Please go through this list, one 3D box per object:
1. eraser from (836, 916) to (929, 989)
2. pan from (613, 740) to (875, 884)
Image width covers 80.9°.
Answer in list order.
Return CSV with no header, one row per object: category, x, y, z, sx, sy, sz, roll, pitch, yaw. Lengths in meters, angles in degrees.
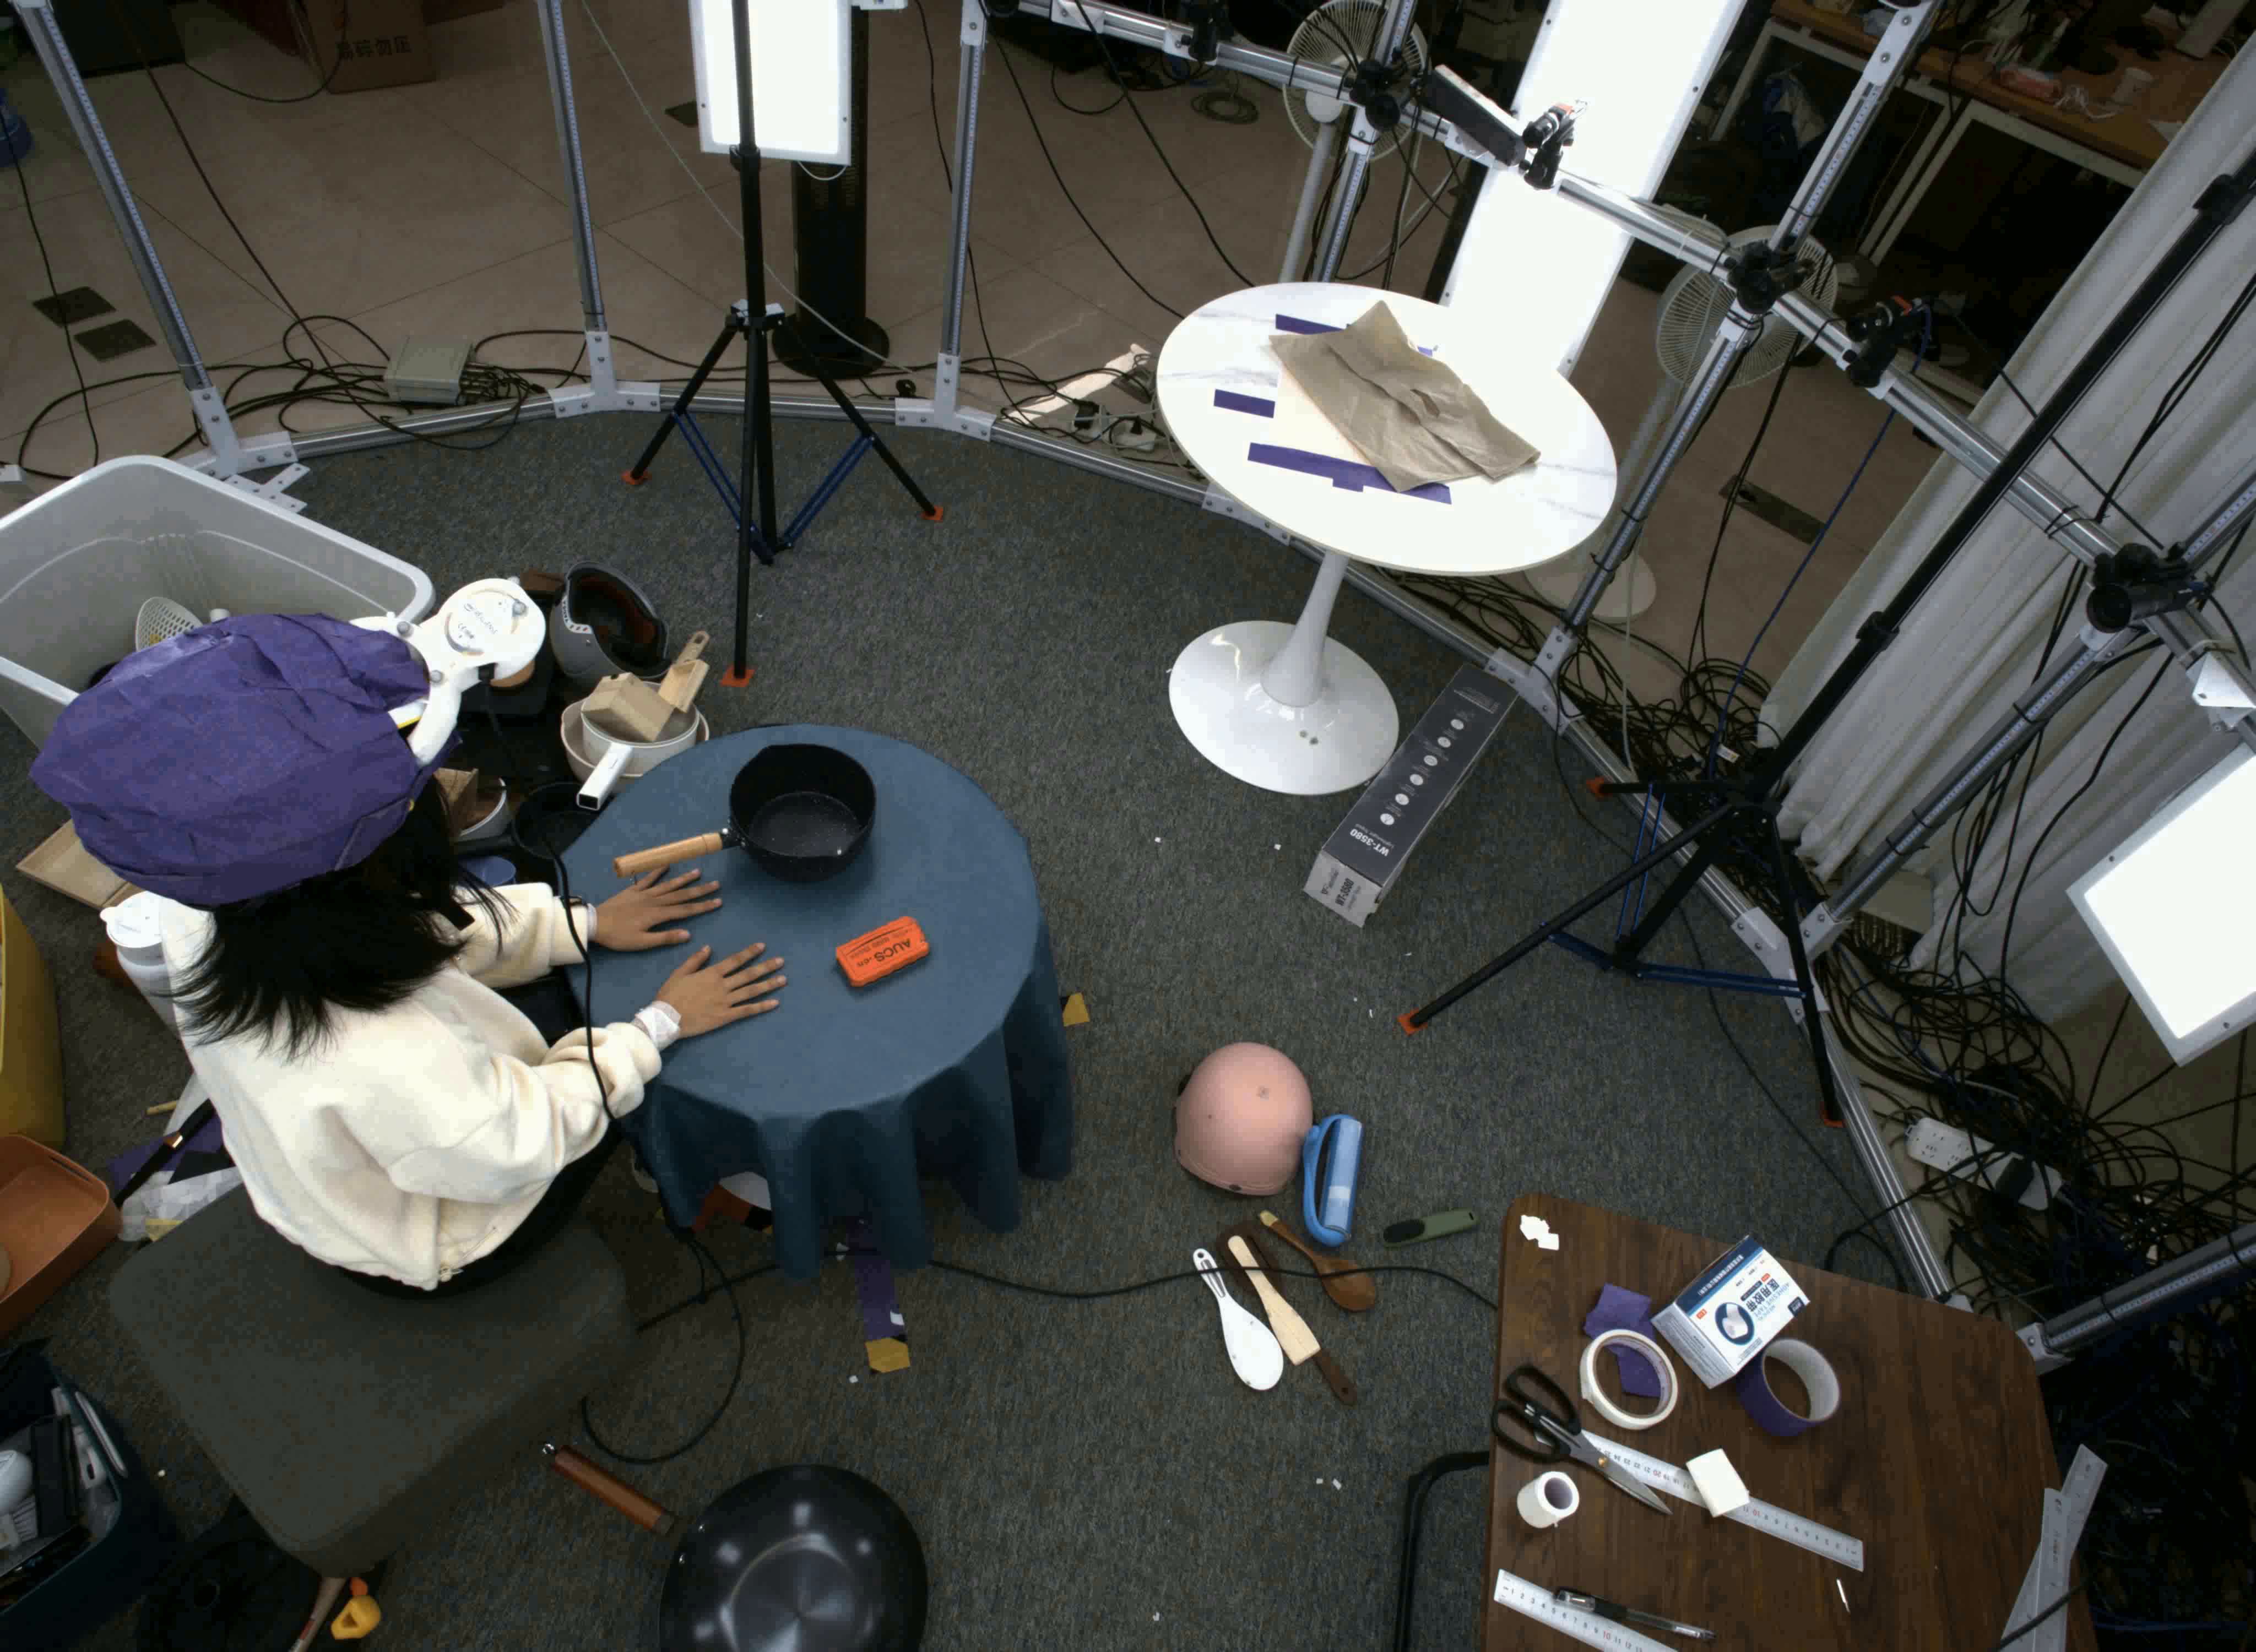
eraser,-0.306,0.155,1.619,0.108,0.023,0.057,-25,63,-29
pan,-0.480,0.012,1.625,0.344,0.110,0.203,-27,65,-32
